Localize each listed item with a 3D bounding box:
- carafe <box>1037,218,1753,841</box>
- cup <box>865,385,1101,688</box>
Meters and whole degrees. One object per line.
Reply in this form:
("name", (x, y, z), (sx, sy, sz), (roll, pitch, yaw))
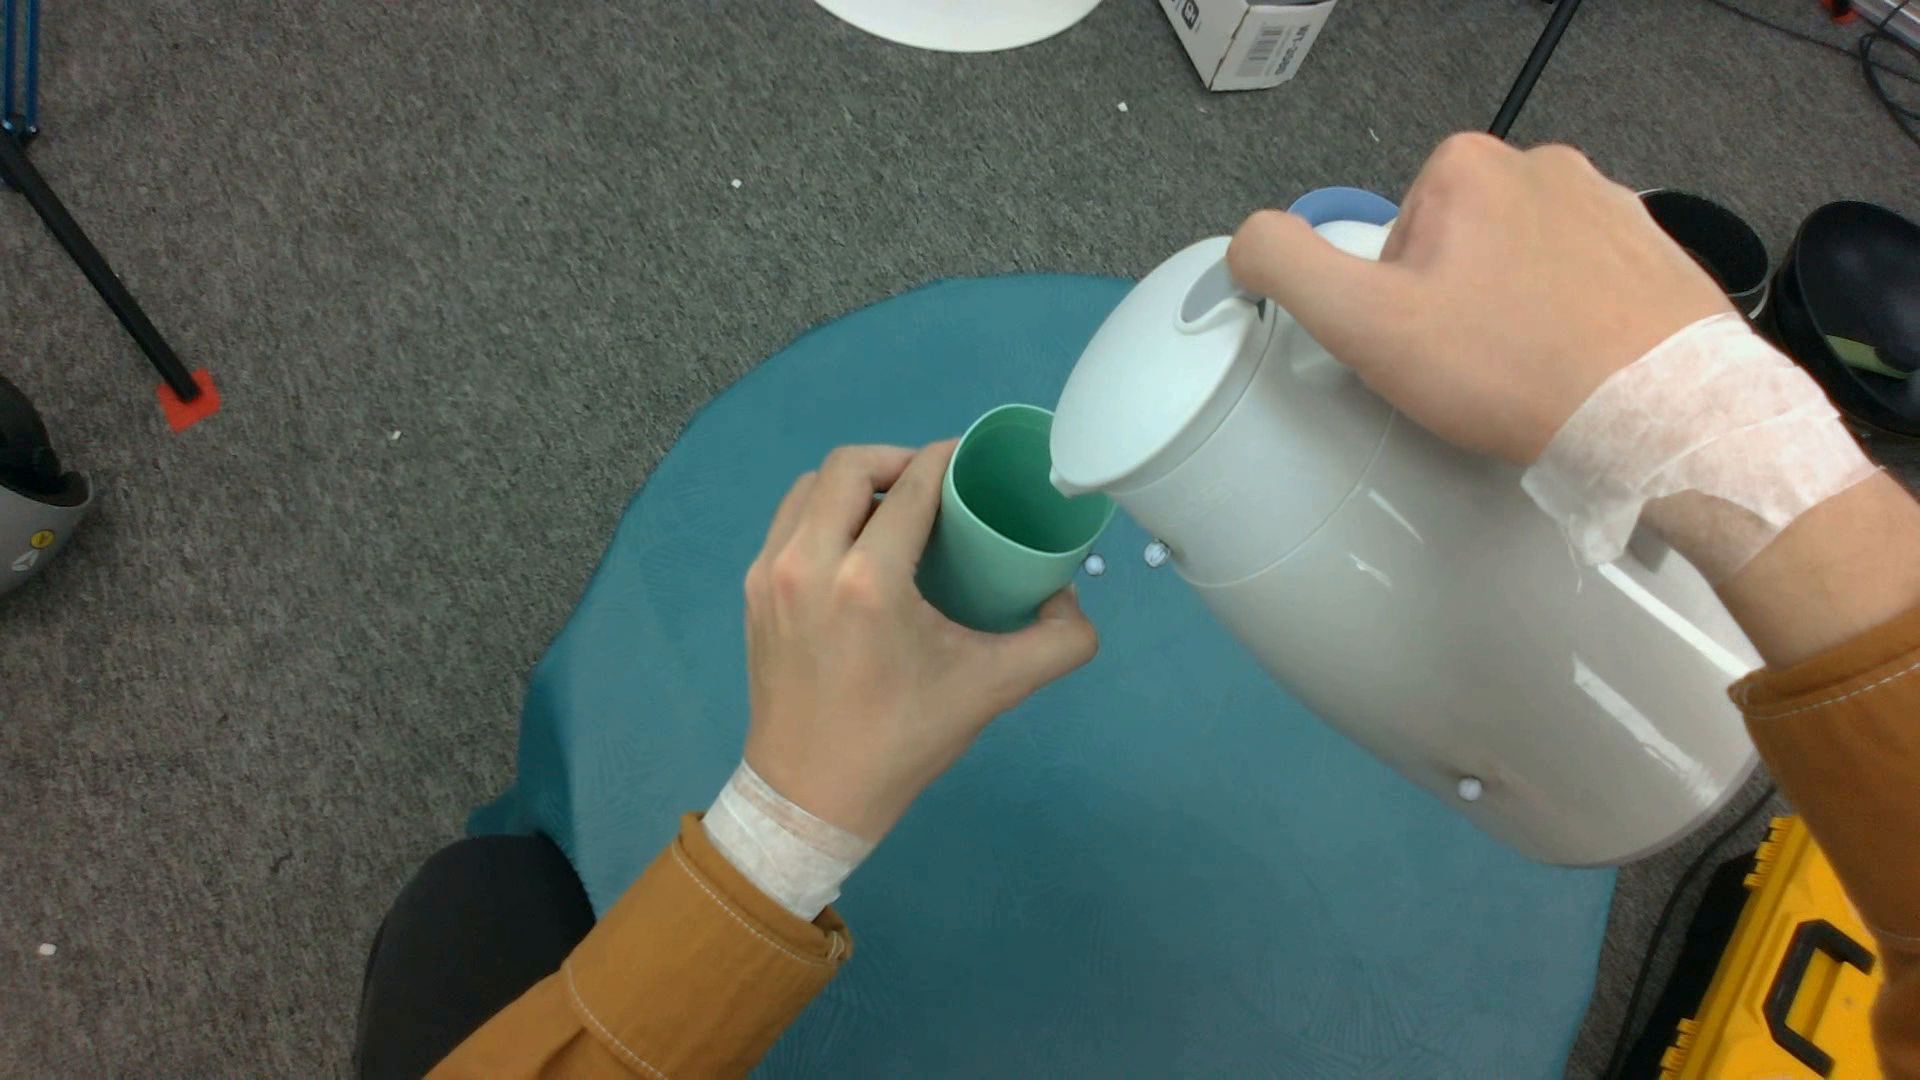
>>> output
("carafe", (0.156, -0.014, 0.466), (0.248, 0.167, 0.133), (34, 49, -24))
("cup", (0.004, 0.004, 0.554), (0.067, 0.131, 0.067), (8, 57, -12))
